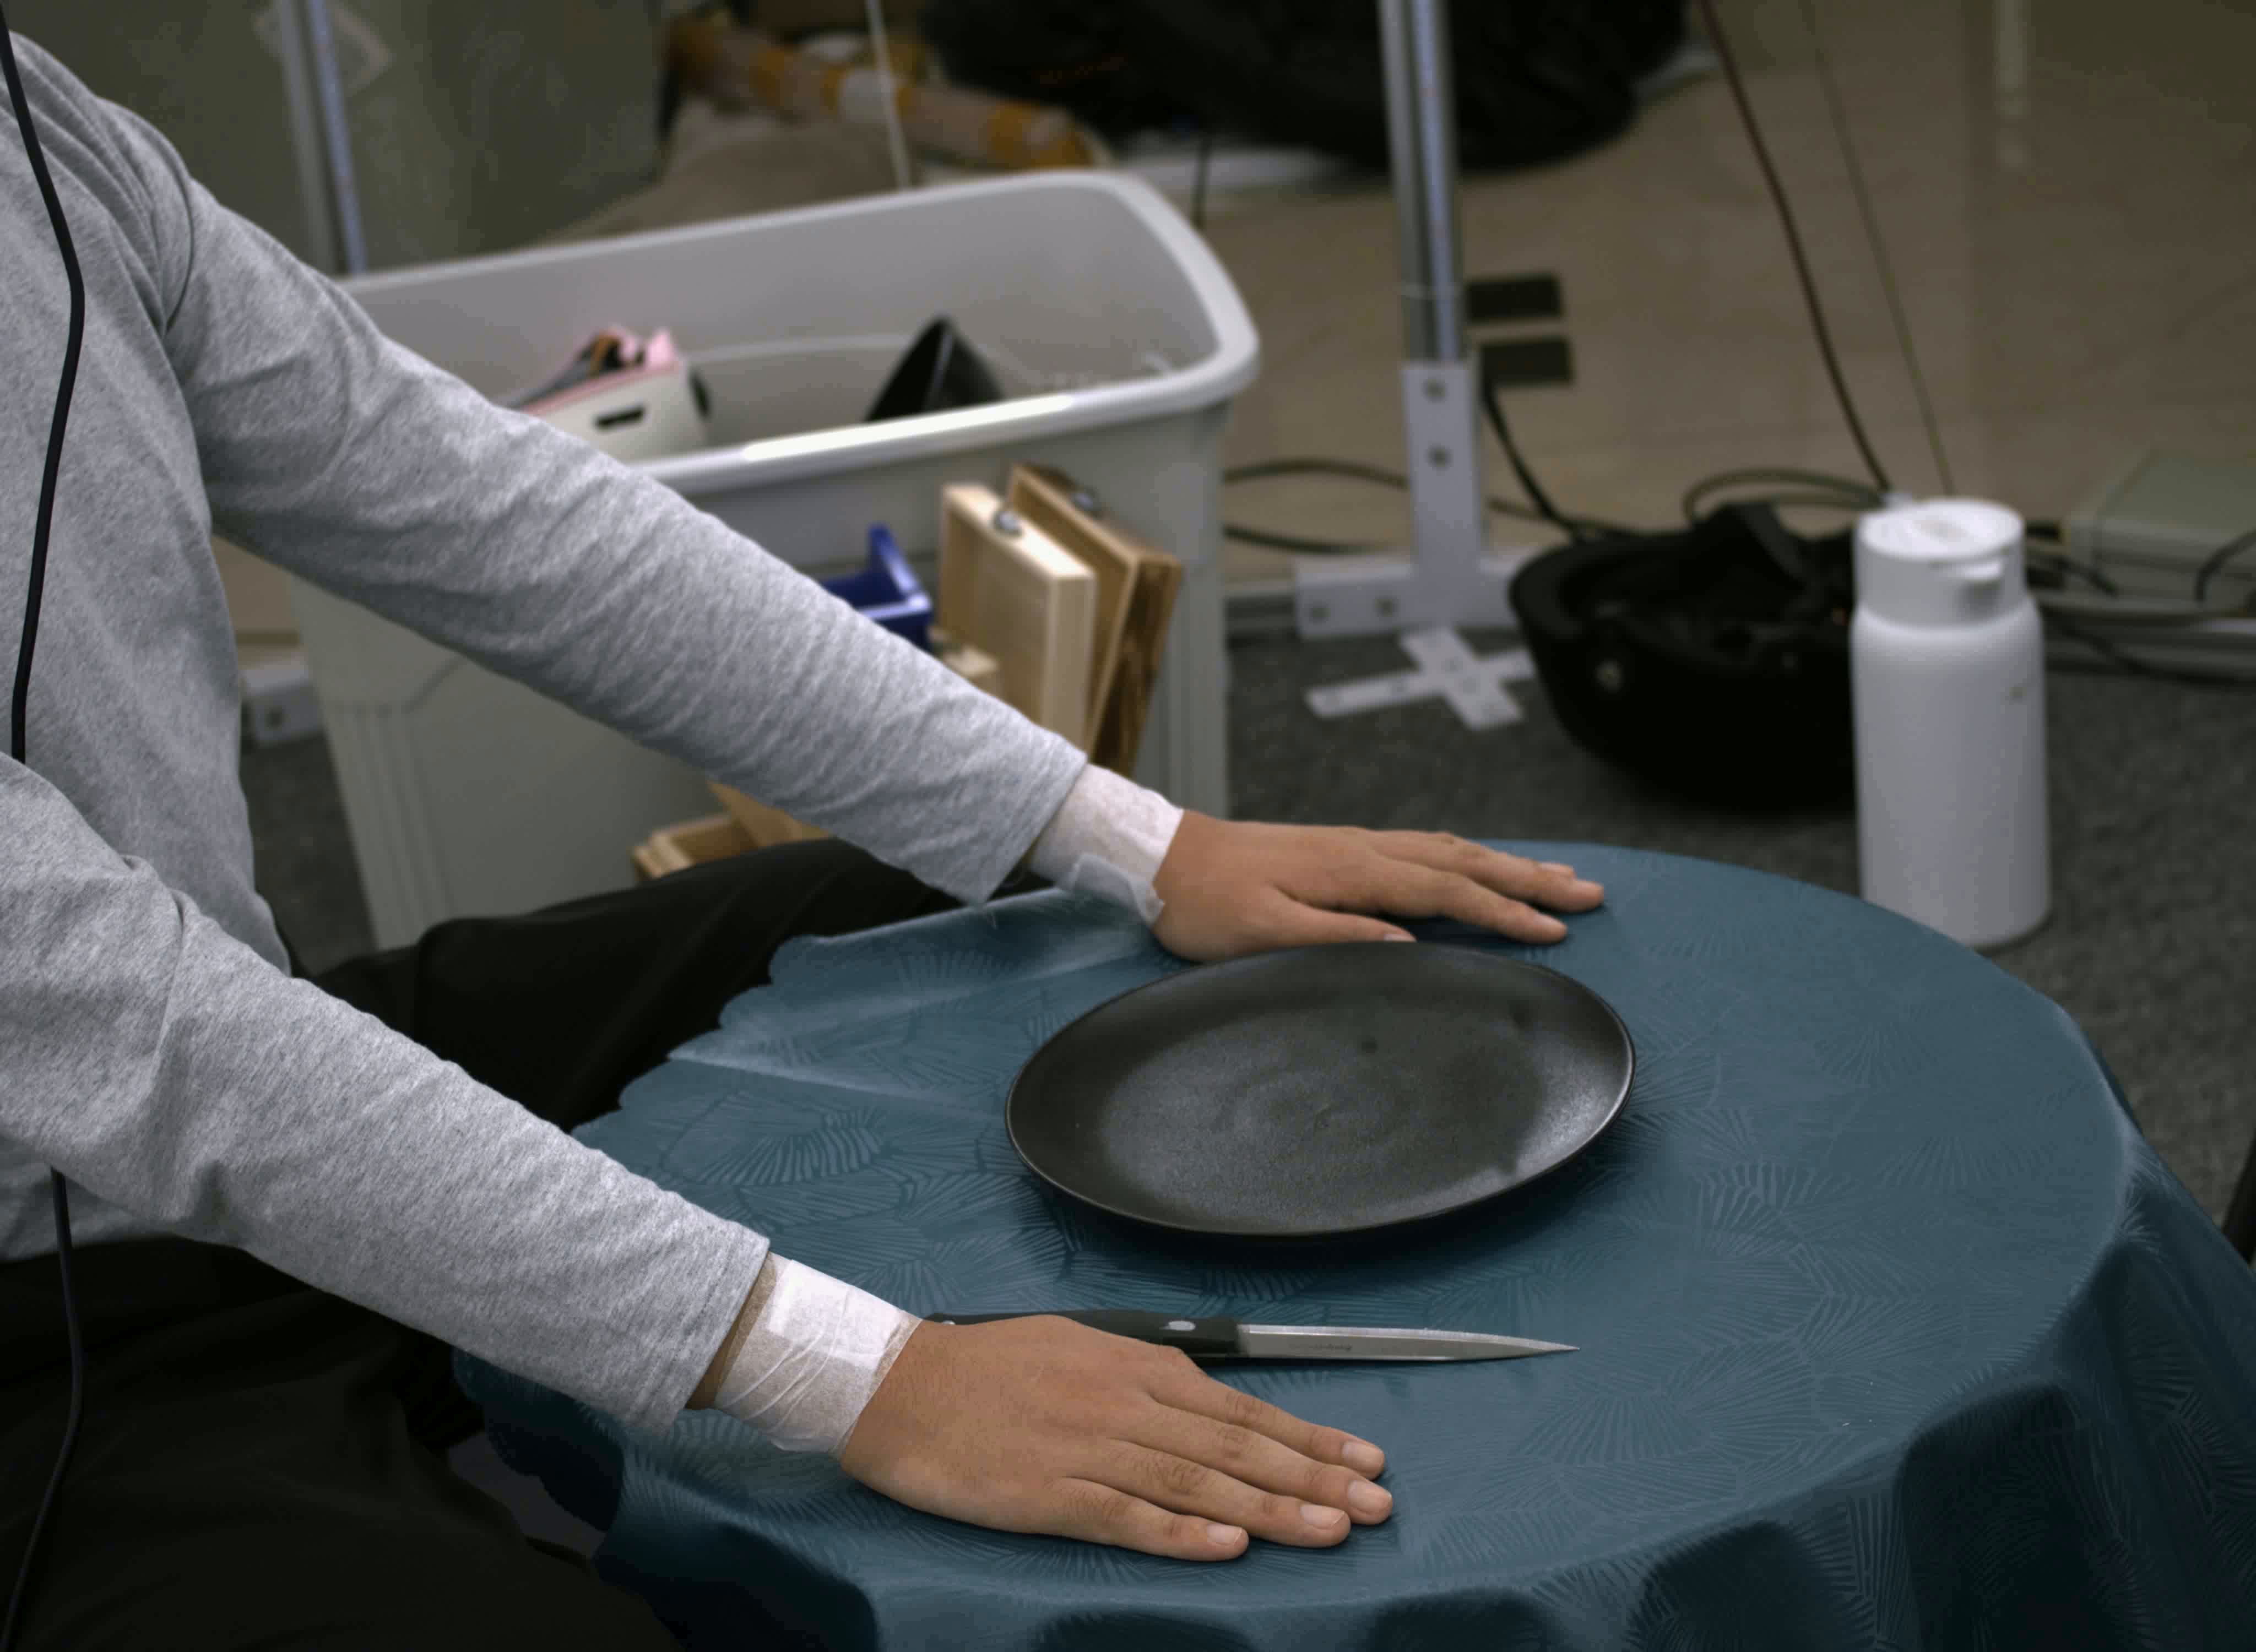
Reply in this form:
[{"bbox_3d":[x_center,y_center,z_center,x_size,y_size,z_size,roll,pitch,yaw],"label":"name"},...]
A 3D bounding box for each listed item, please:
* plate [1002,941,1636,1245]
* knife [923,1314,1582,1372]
[{"bbox_3d":[0.074,0.107,2.175,0.244,0.024,0.241,-5,25,3],"label":"plate"},{"bbox_3d":[0.043,0.185,2.029,0.238,0.016,0.024,0,26,7],"label":"knife"}]
